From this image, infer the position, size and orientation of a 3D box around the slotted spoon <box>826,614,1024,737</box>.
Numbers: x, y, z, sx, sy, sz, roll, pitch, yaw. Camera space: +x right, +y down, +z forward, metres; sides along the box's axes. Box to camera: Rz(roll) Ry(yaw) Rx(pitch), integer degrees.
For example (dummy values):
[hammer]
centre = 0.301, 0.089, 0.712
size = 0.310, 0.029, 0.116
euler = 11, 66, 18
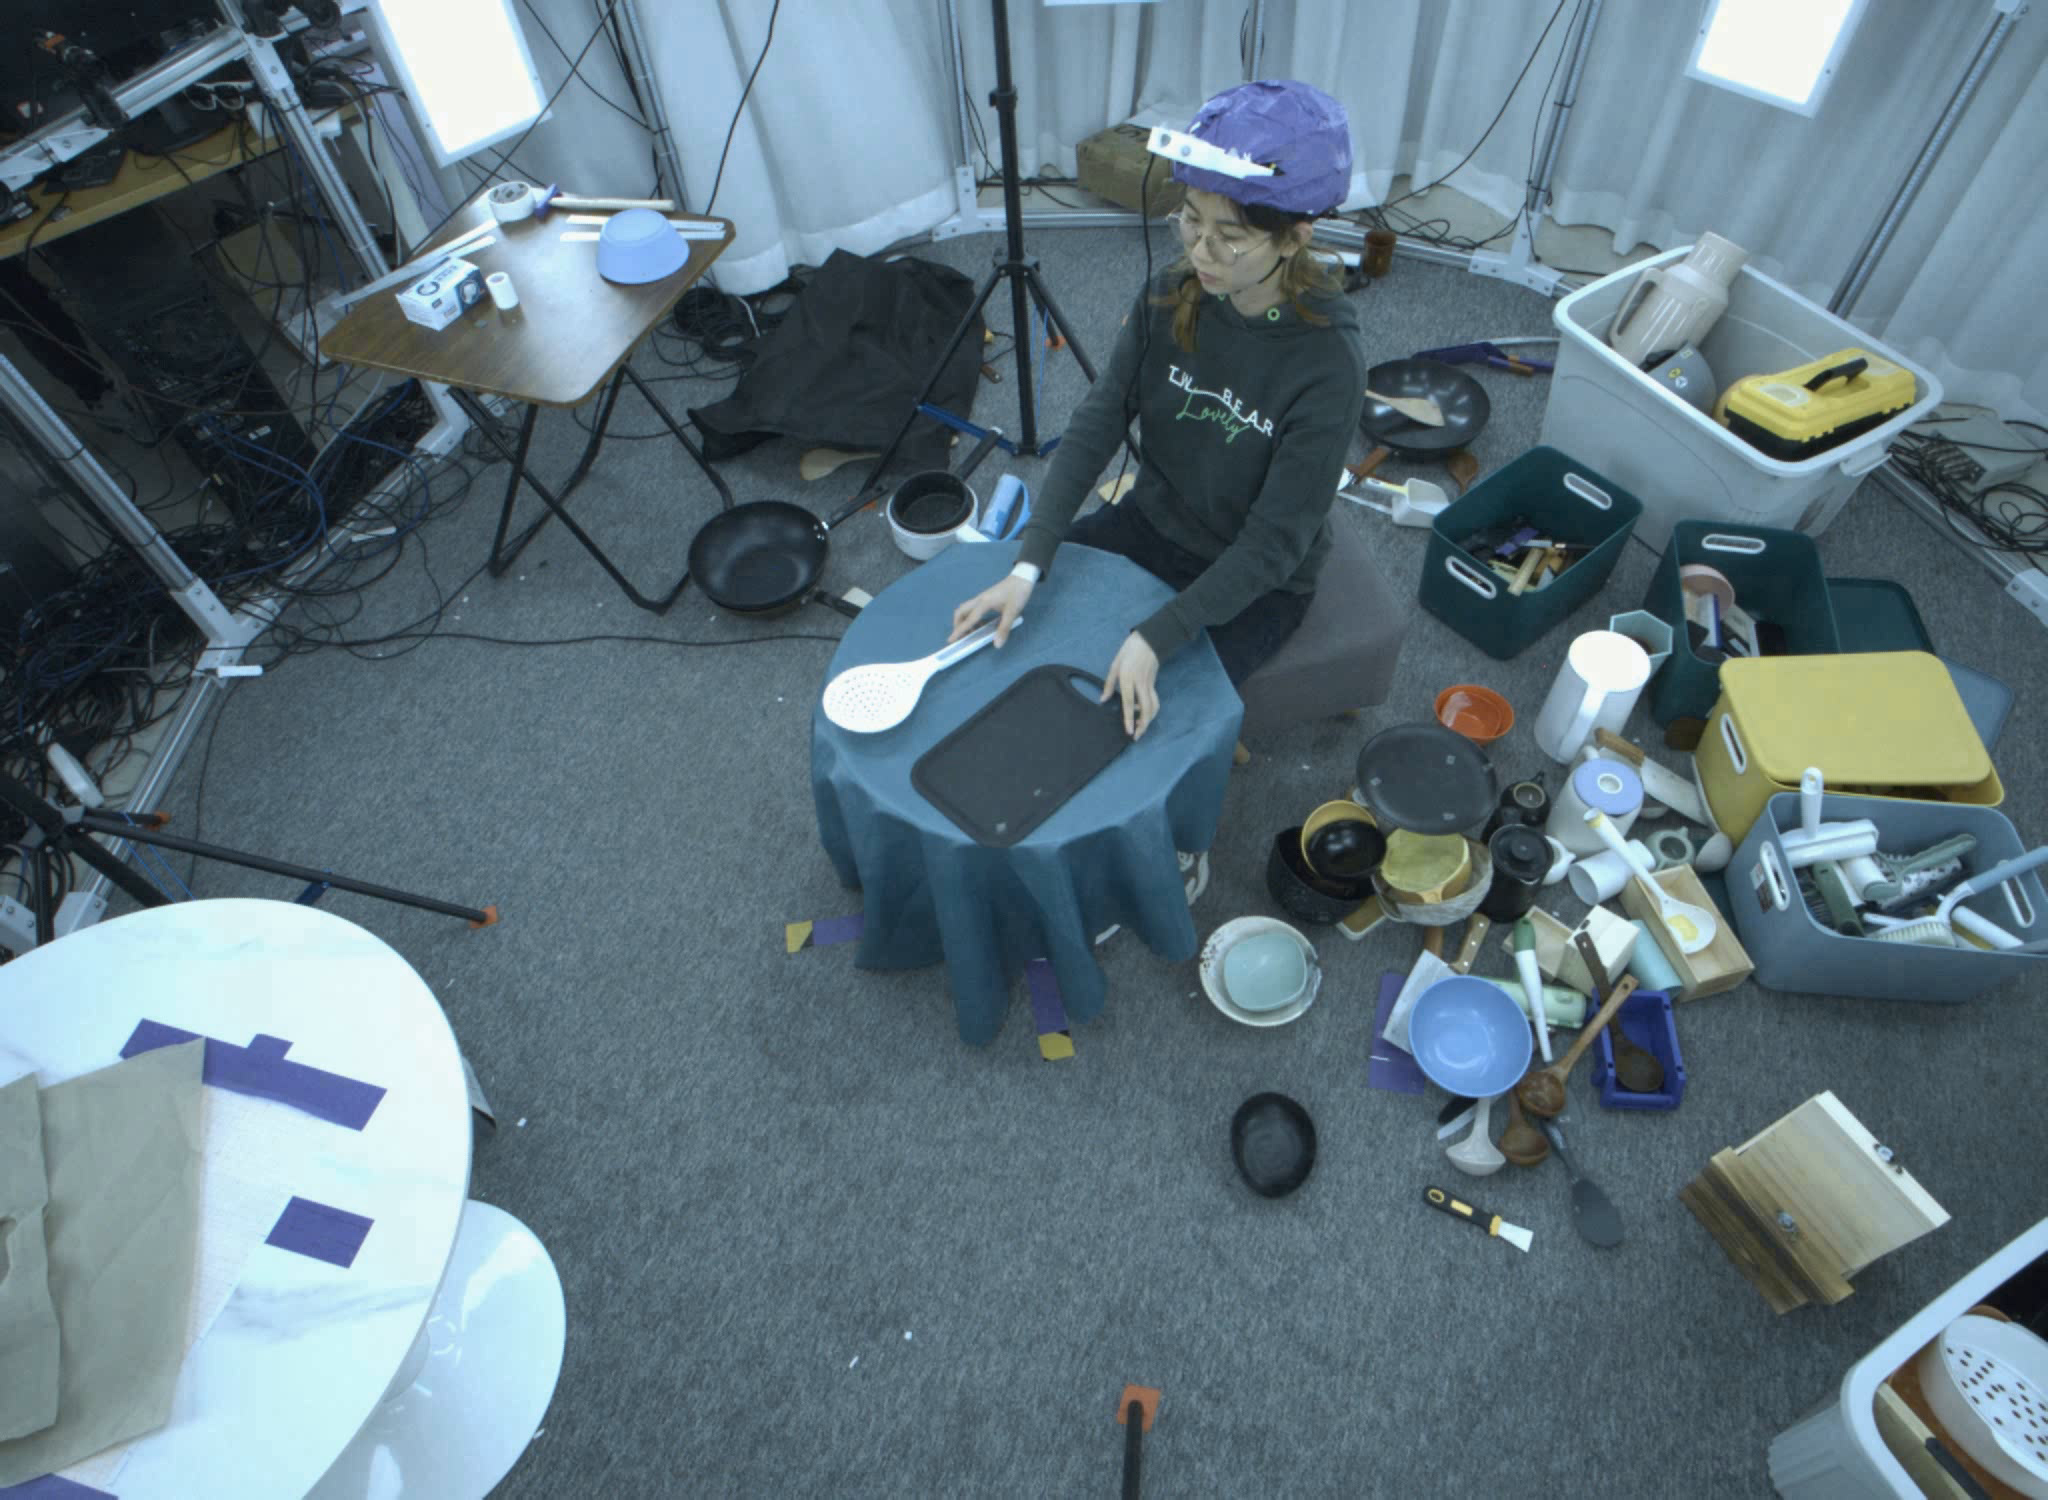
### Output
[slotted spoon]
centre = -0.142, -0.121, 1.859
size = 0.352, 0.046, 0.133
euler = -35, 60, -22

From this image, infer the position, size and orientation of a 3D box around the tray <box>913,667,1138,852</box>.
[tray]
centre = 0.008, 0.001, 1.790
size = 0.327, 0.010, 0.207
euler = -40, 62, -23
